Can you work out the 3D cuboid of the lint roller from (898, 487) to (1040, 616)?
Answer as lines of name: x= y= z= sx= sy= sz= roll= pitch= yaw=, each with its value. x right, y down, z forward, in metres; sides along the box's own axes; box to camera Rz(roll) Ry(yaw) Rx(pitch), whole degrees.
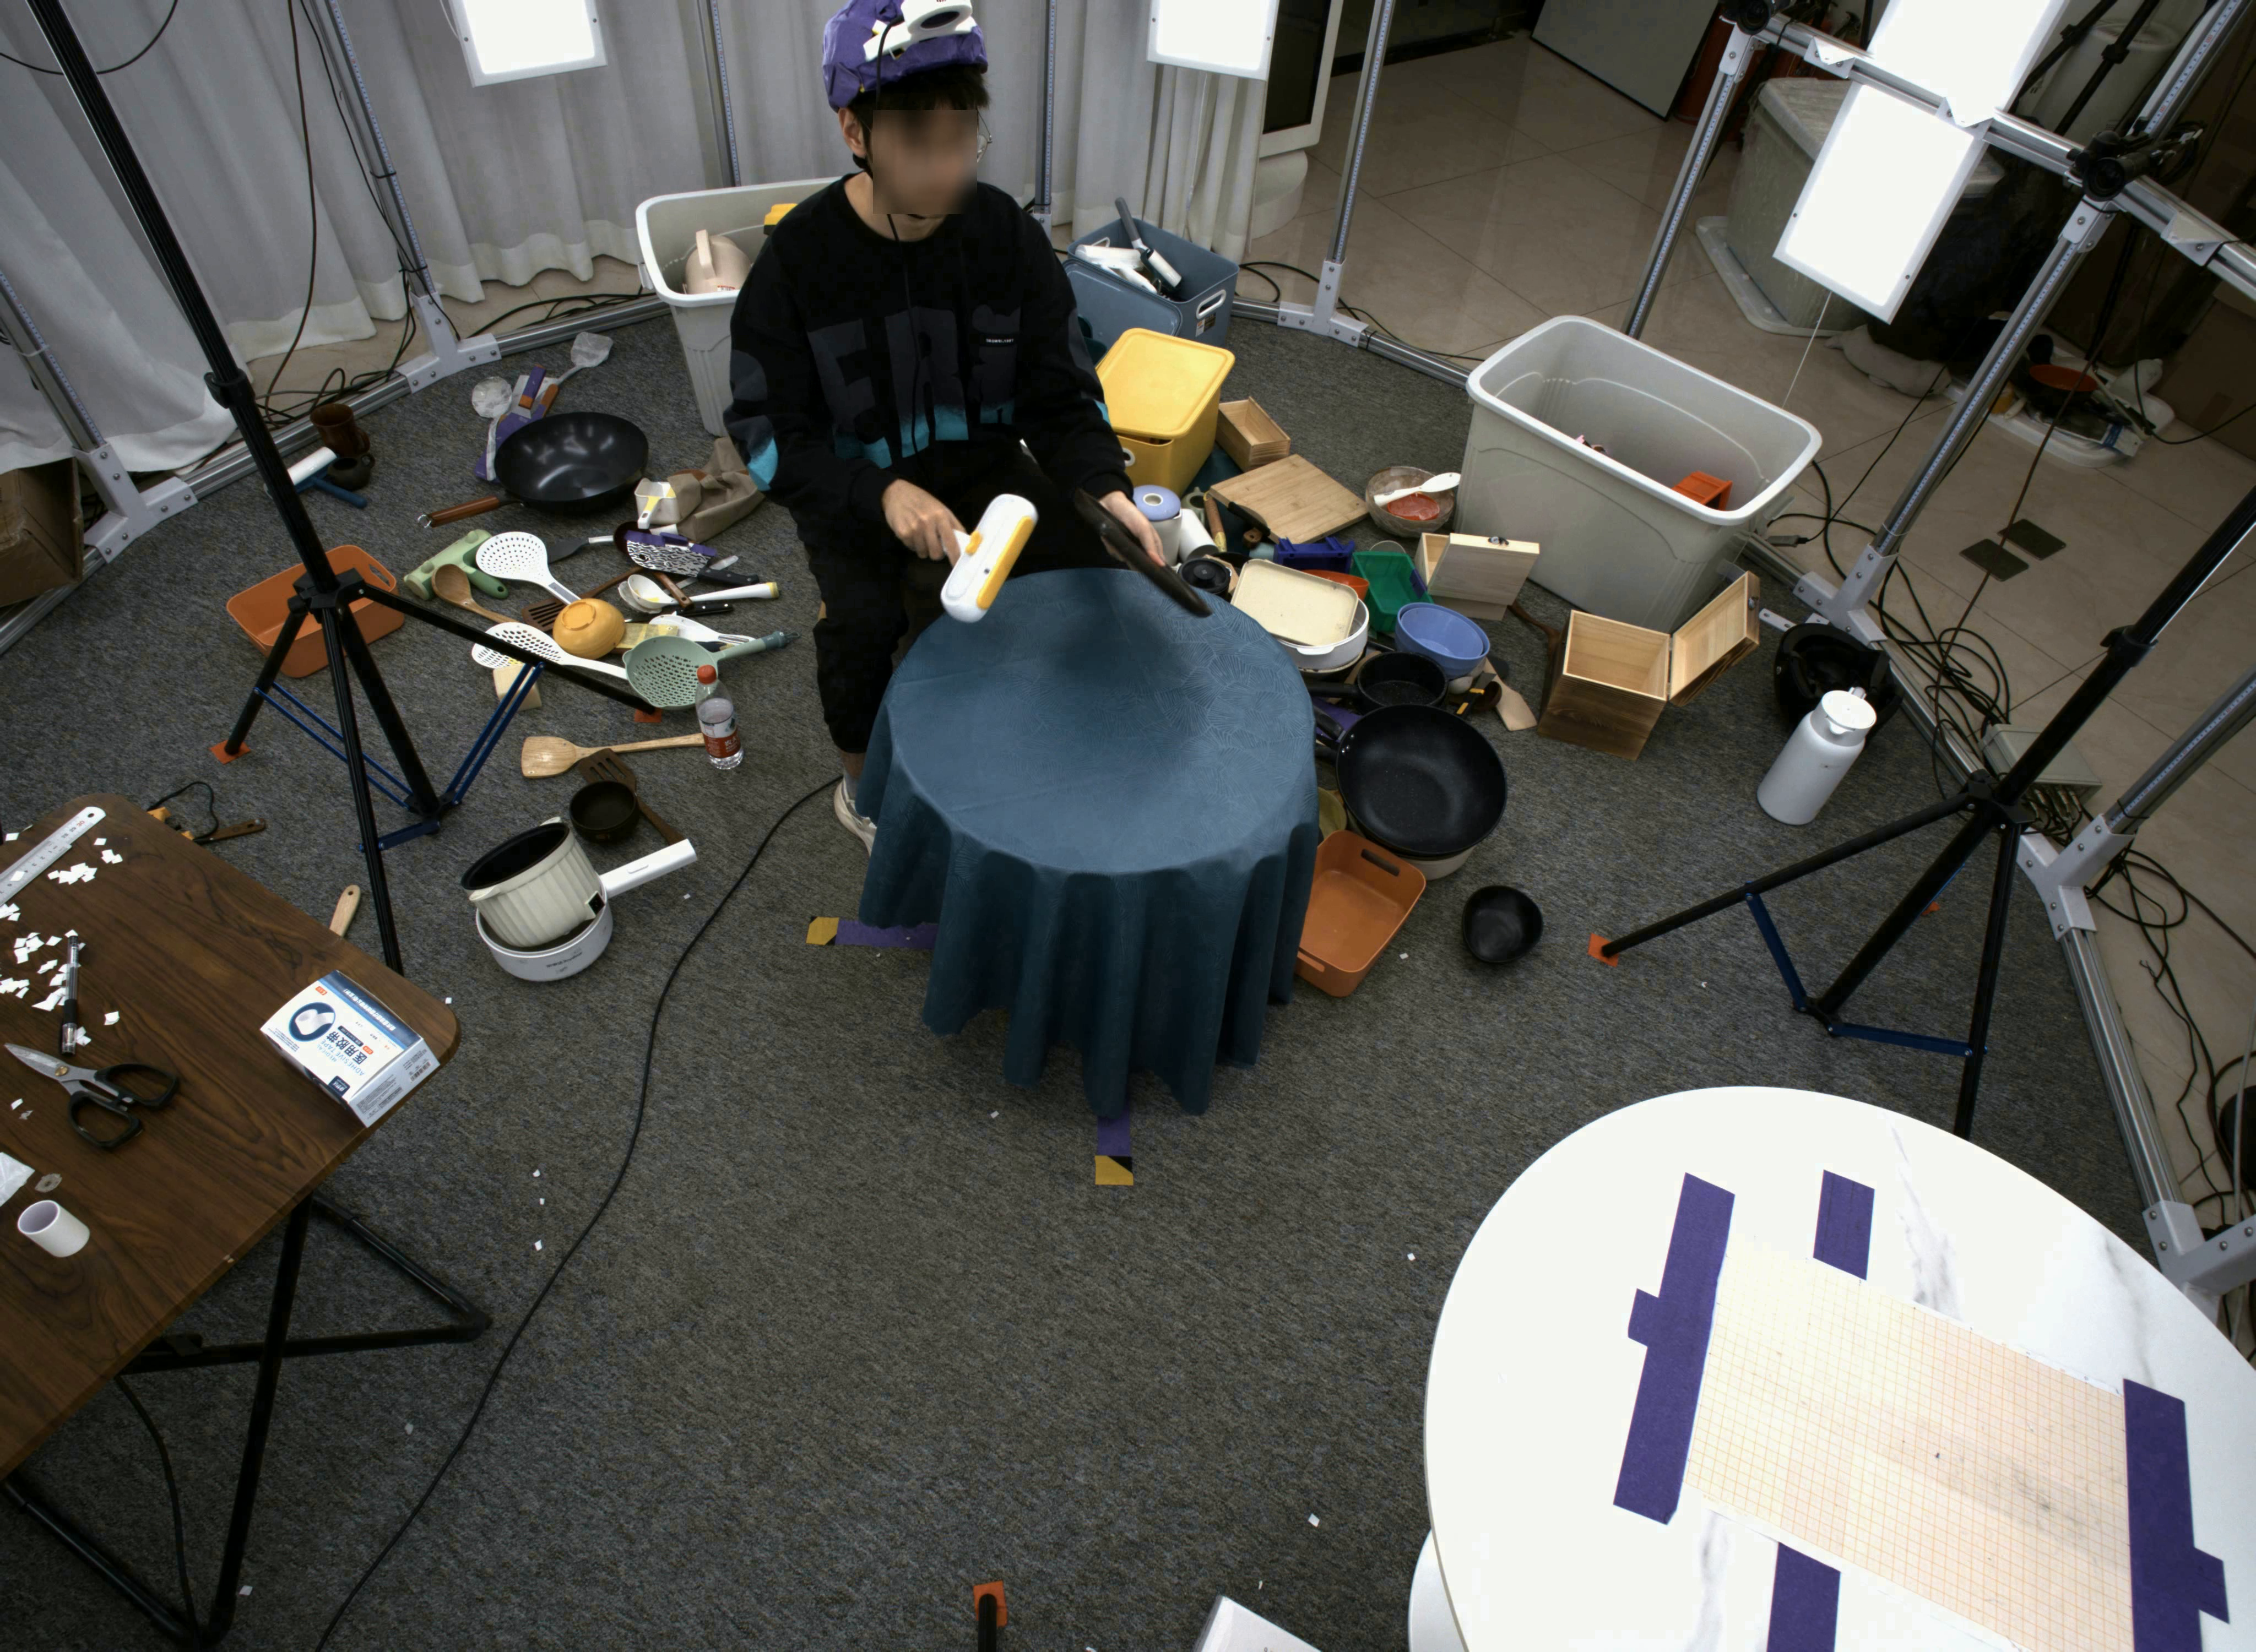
lint roller: x=-0.238 y=-0.401 z=1.821 sx=0.194 sy=0.073 sz=0.194 roll=19 pitch=81 yaw=32

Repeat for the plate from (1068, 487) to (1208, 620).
plate: x=0.014 y=-0.373 z=1.780 sx=0.029 sy=0.251 sz=0.260 roll=-48 pitch=57 yaw=14
